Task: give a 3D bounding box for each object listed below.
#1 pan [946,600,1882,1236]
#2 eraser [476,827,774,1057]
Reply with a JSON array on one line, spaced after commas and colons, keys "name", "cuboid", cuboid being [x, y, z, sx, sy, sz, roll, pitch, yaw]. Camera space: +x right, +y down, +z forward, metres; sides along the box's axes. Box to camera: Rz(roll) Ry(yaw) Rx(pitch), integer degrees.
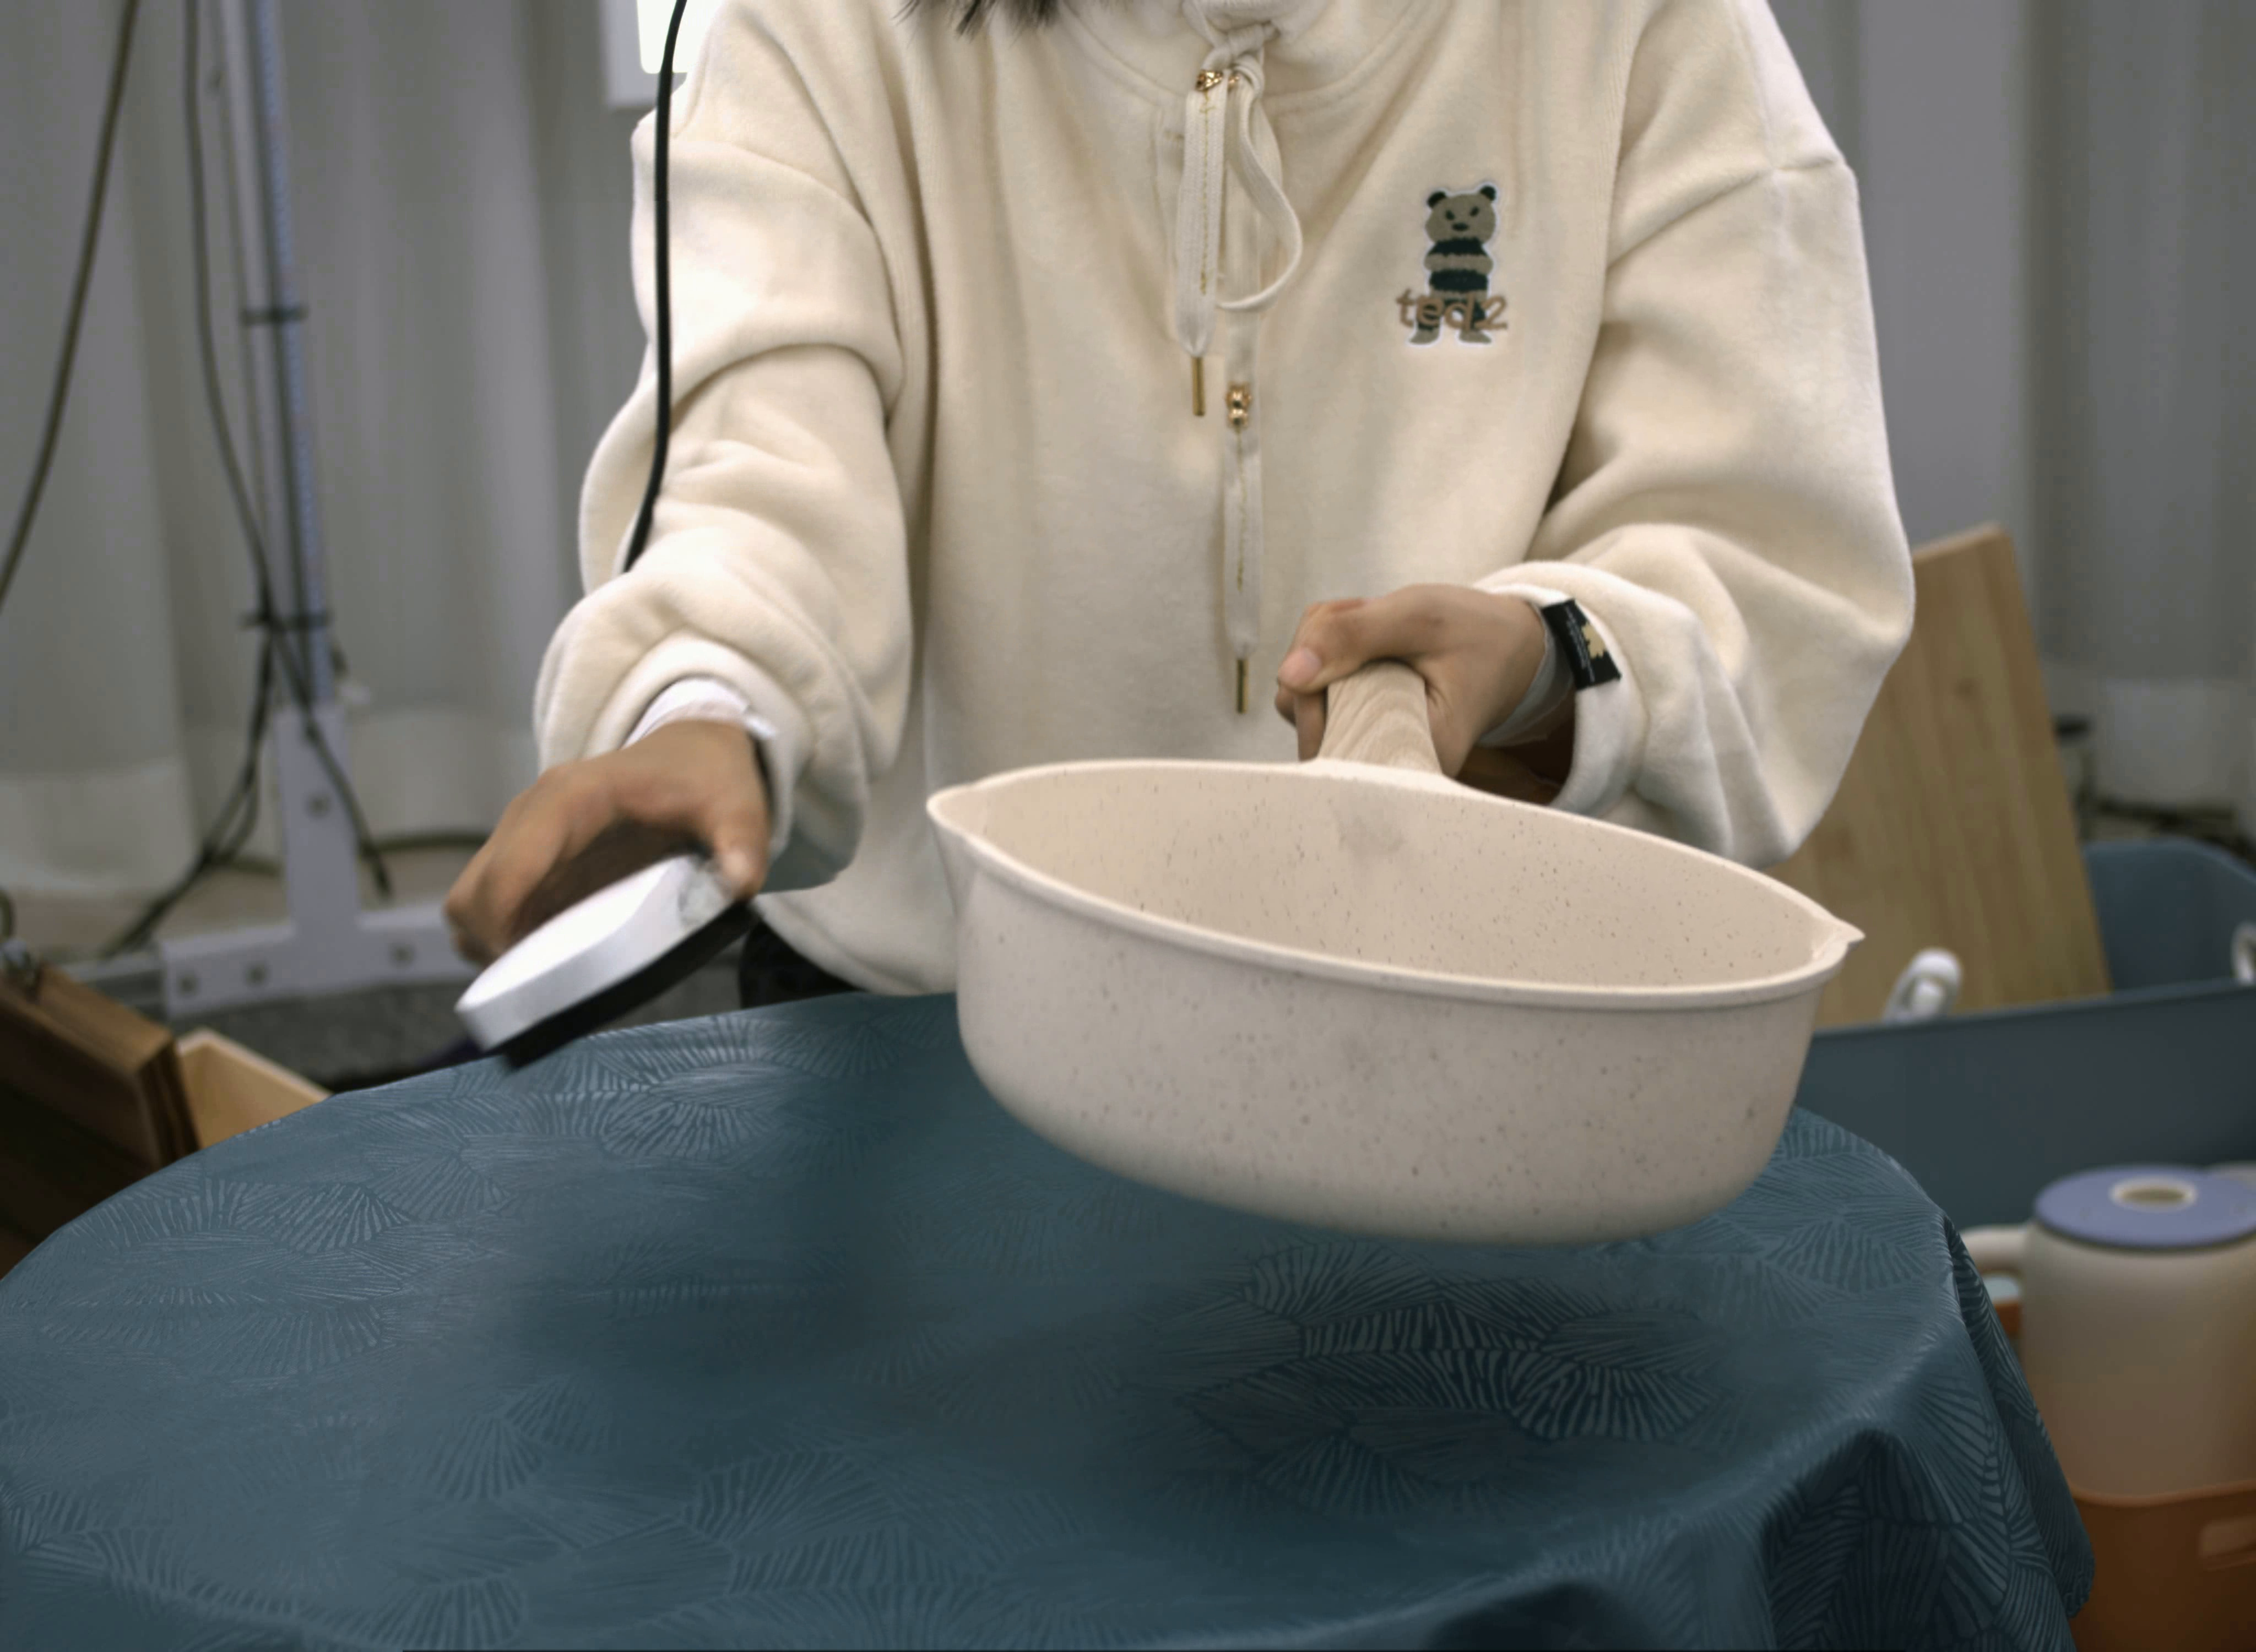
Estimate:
[{"name": "pan", "cuboid": [0.075, 0.021, 1.612, 0.262, 0.102, 0.437, 7, 12, -2]}, {"name": "eraser", "cuboid": [-0.145, 0.032, 1.600, 0.063, 0.034, 0.131, -27, 3, 14]}]
